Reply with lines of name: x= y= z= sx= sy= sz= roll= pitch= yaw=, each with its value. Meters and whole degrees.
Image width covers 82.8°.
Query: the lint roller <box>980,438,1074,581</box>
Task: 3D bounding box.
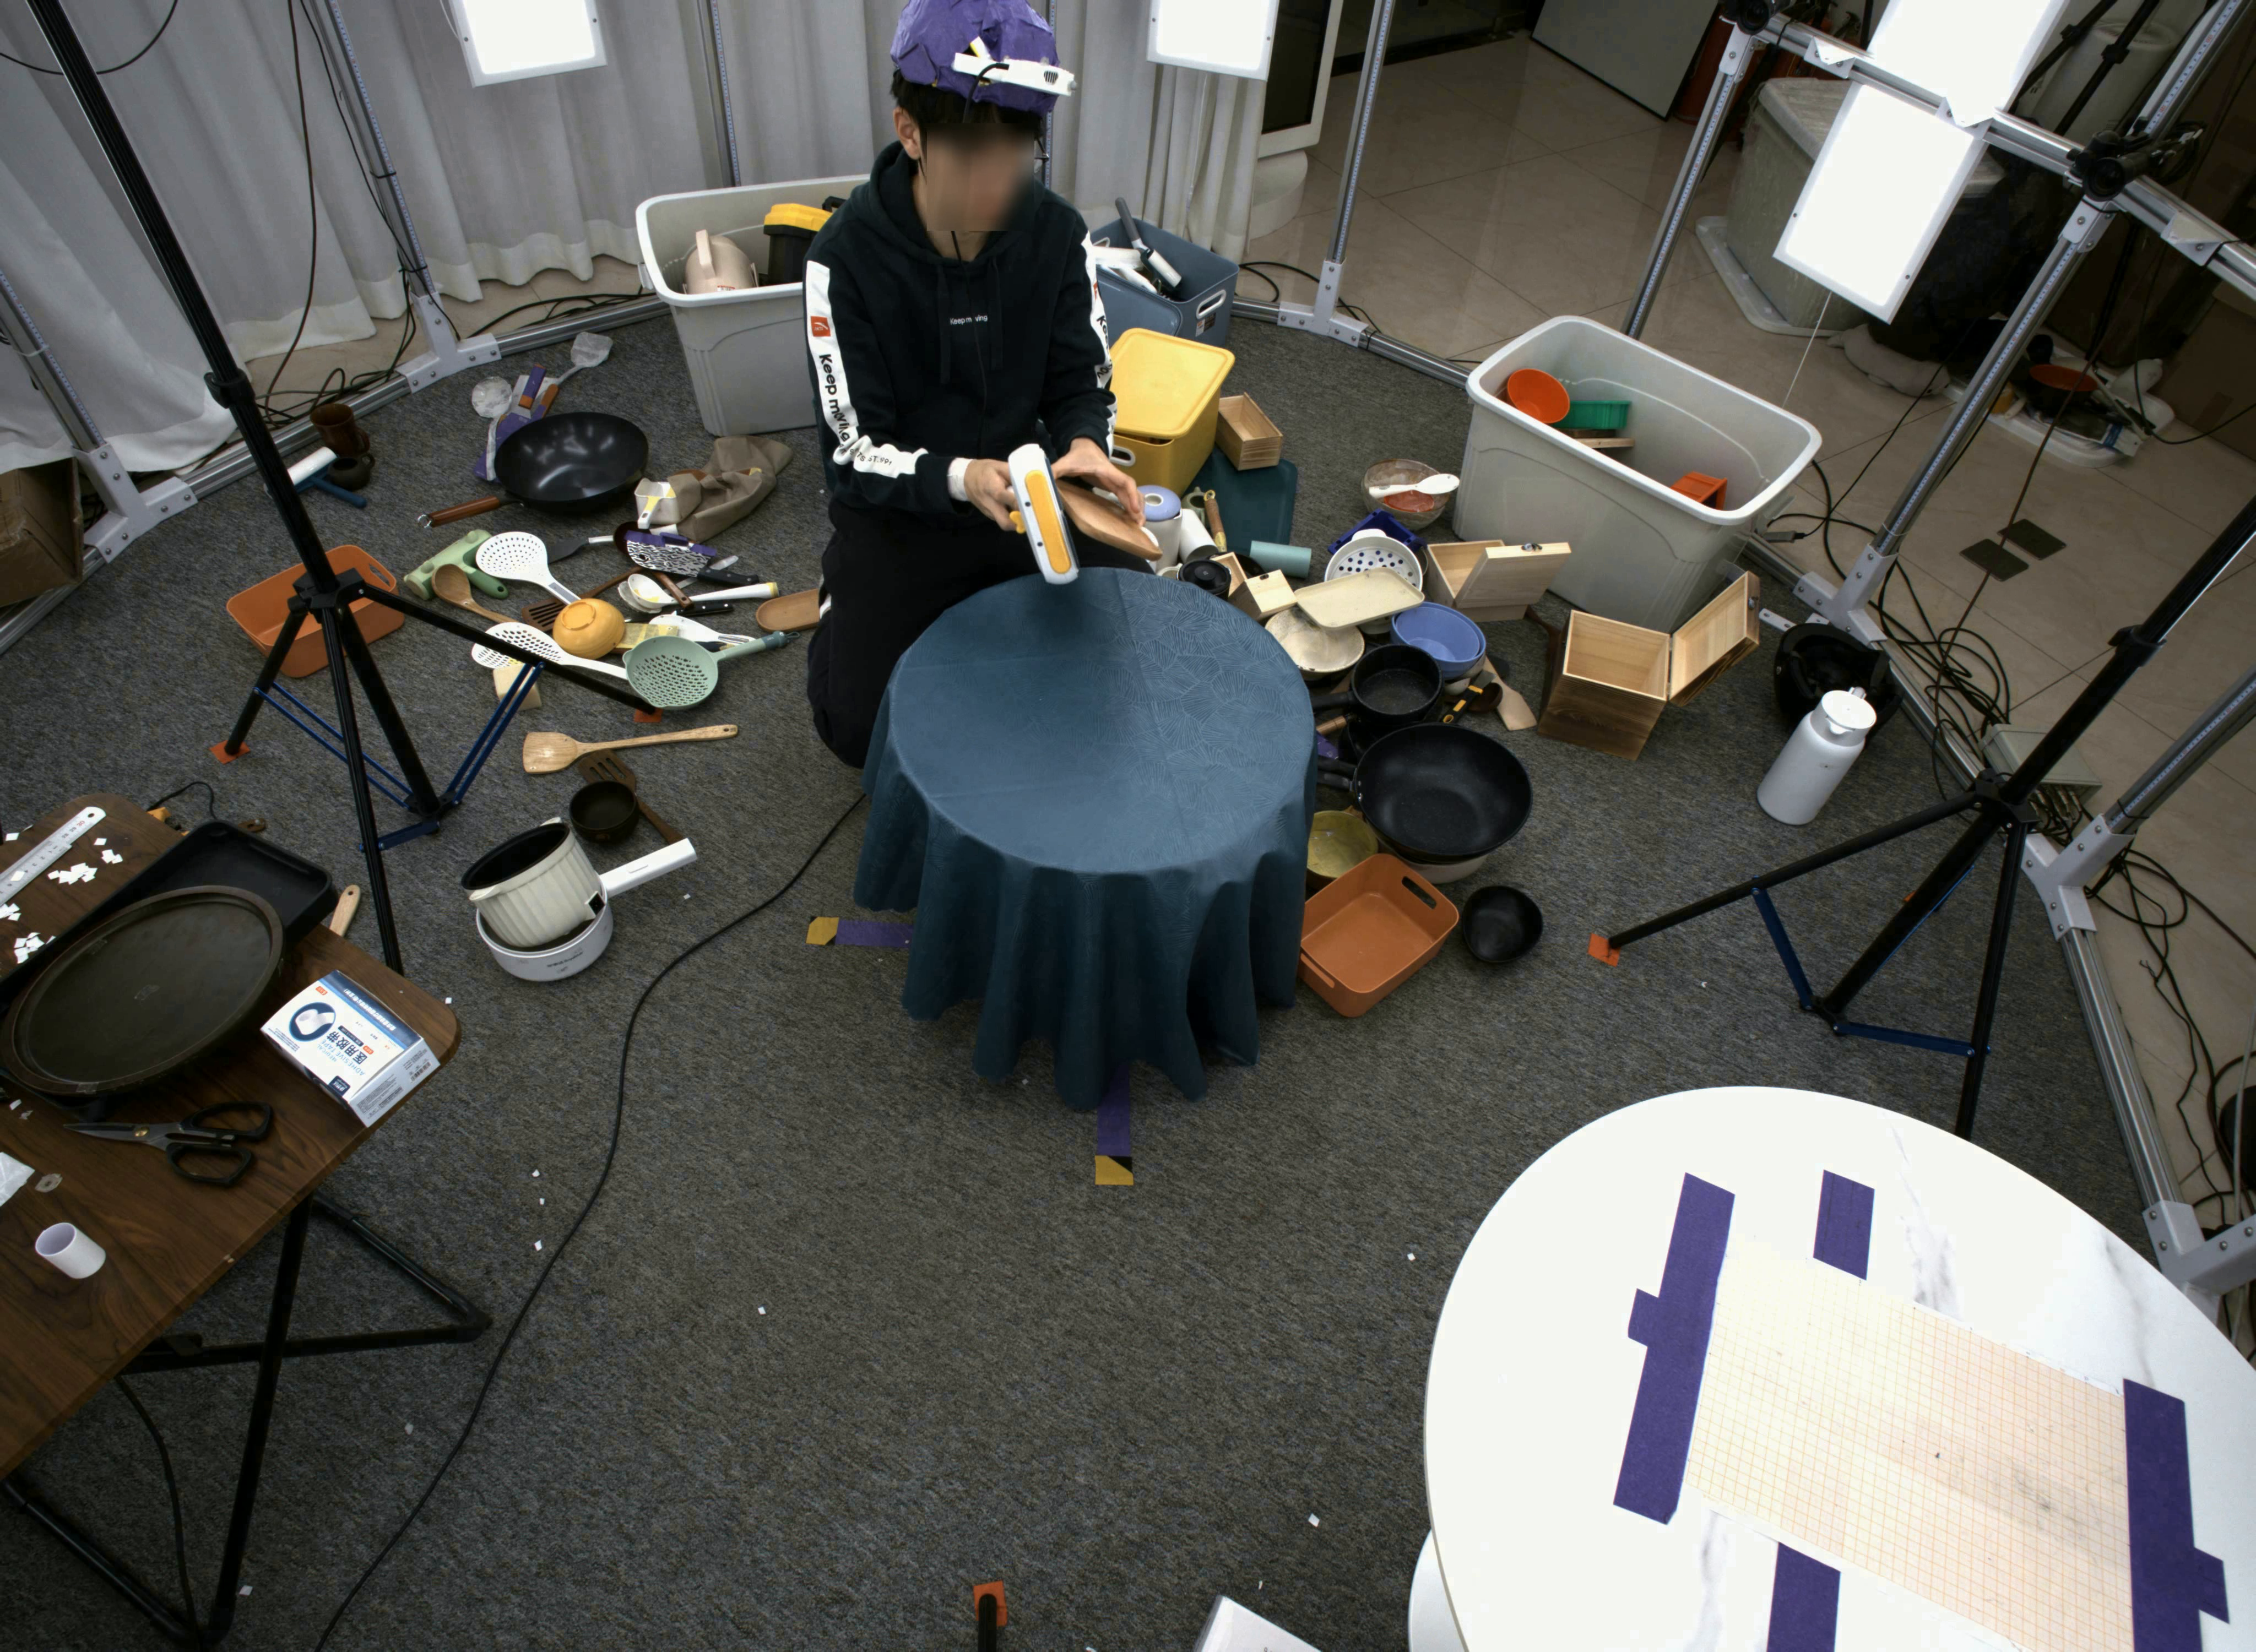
lint roller: x=-0.149 y=-0.435 z=1.776 sx=0.074 sy=0.189 sz=0.195 roll=-28 pitch=25 yaw=-12

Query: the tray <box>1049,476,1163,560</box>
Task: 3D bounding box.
tray: x=-0.035 y=-0.430 z=1.792 sx=0.129 sy=0.022 sz=0.256 roll=20 pitch=21 yaw=-23
